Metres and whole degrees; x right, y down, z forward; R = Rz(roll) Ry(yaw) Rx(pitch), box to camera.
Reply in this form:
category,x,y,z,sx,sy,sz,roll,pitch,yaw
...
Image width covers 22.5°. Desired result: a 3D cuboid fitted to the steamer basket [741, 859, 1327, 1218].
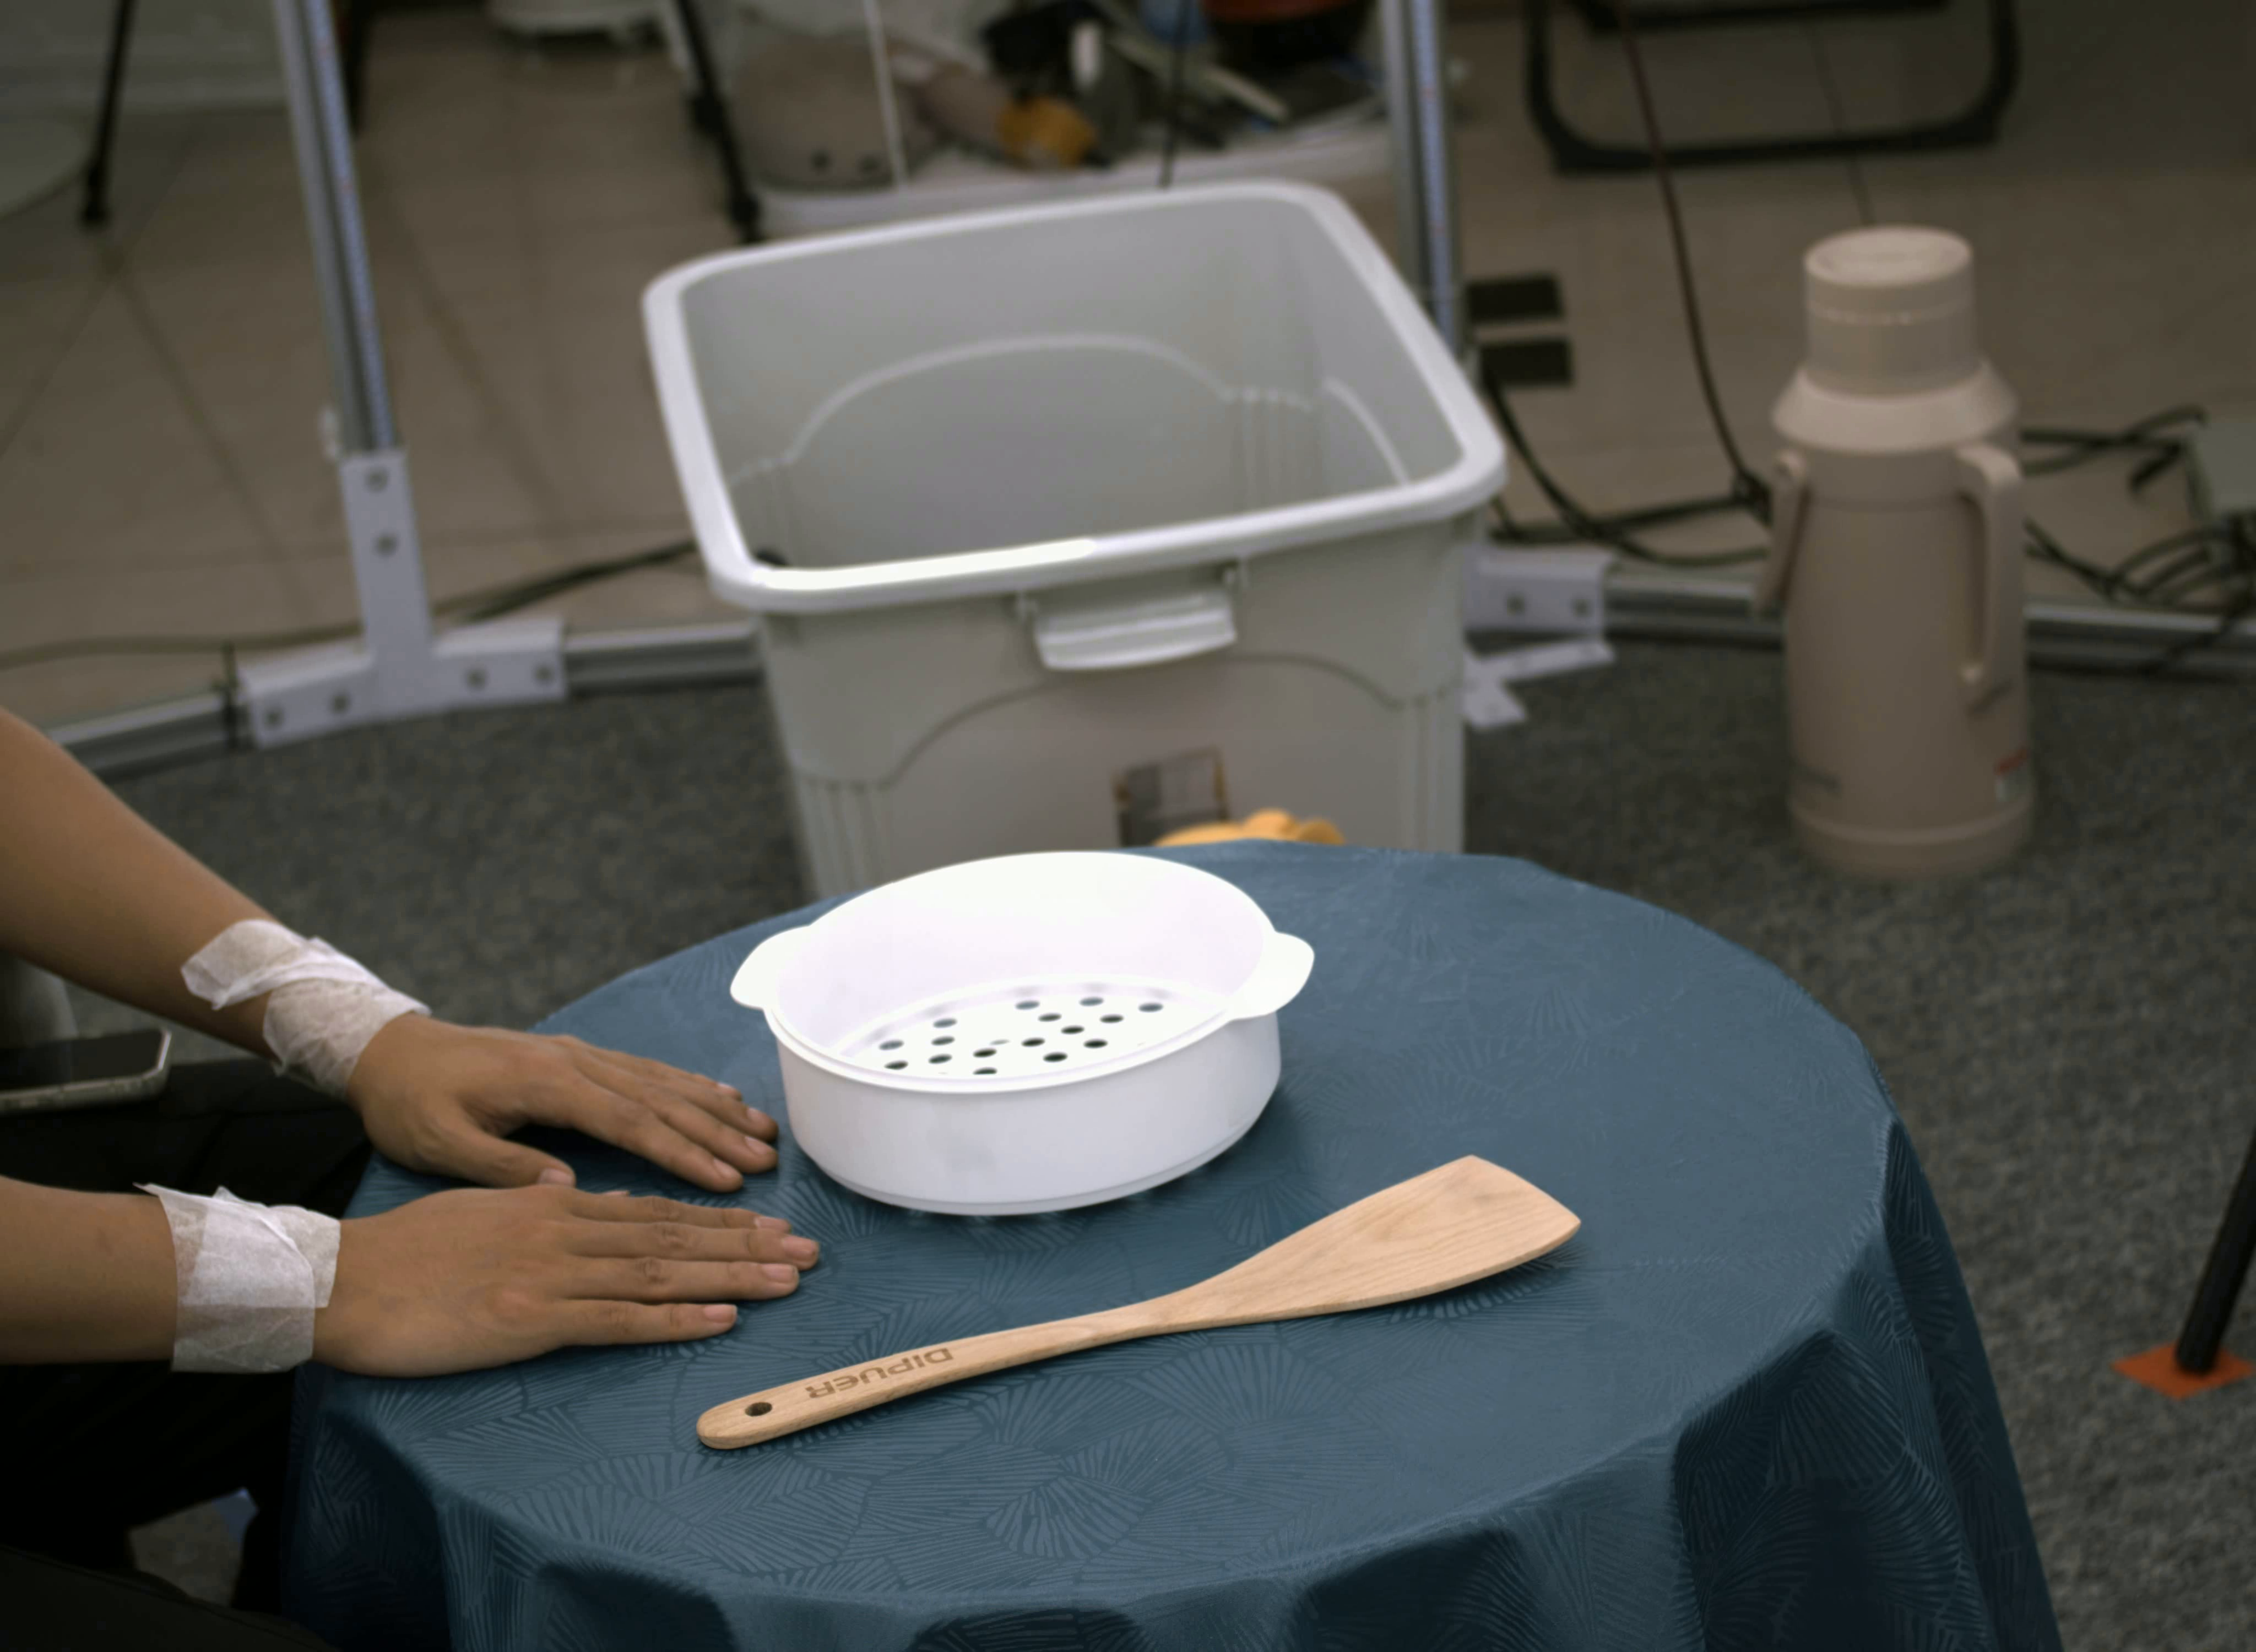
category,x,y,z,sx,sy,sz,roll,pitch,yaw
steamer basket,-0.034,0.082,2.202,0.230,0.070,0.199,1,24,16

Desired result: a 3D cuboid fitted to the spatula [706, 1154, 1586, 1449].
category,x,y,z,sx,sy,sz,roll,pitch,yaw
spatula,0.004,0.174,2.054,0.326,0.017,0.079,-14,25,-14
